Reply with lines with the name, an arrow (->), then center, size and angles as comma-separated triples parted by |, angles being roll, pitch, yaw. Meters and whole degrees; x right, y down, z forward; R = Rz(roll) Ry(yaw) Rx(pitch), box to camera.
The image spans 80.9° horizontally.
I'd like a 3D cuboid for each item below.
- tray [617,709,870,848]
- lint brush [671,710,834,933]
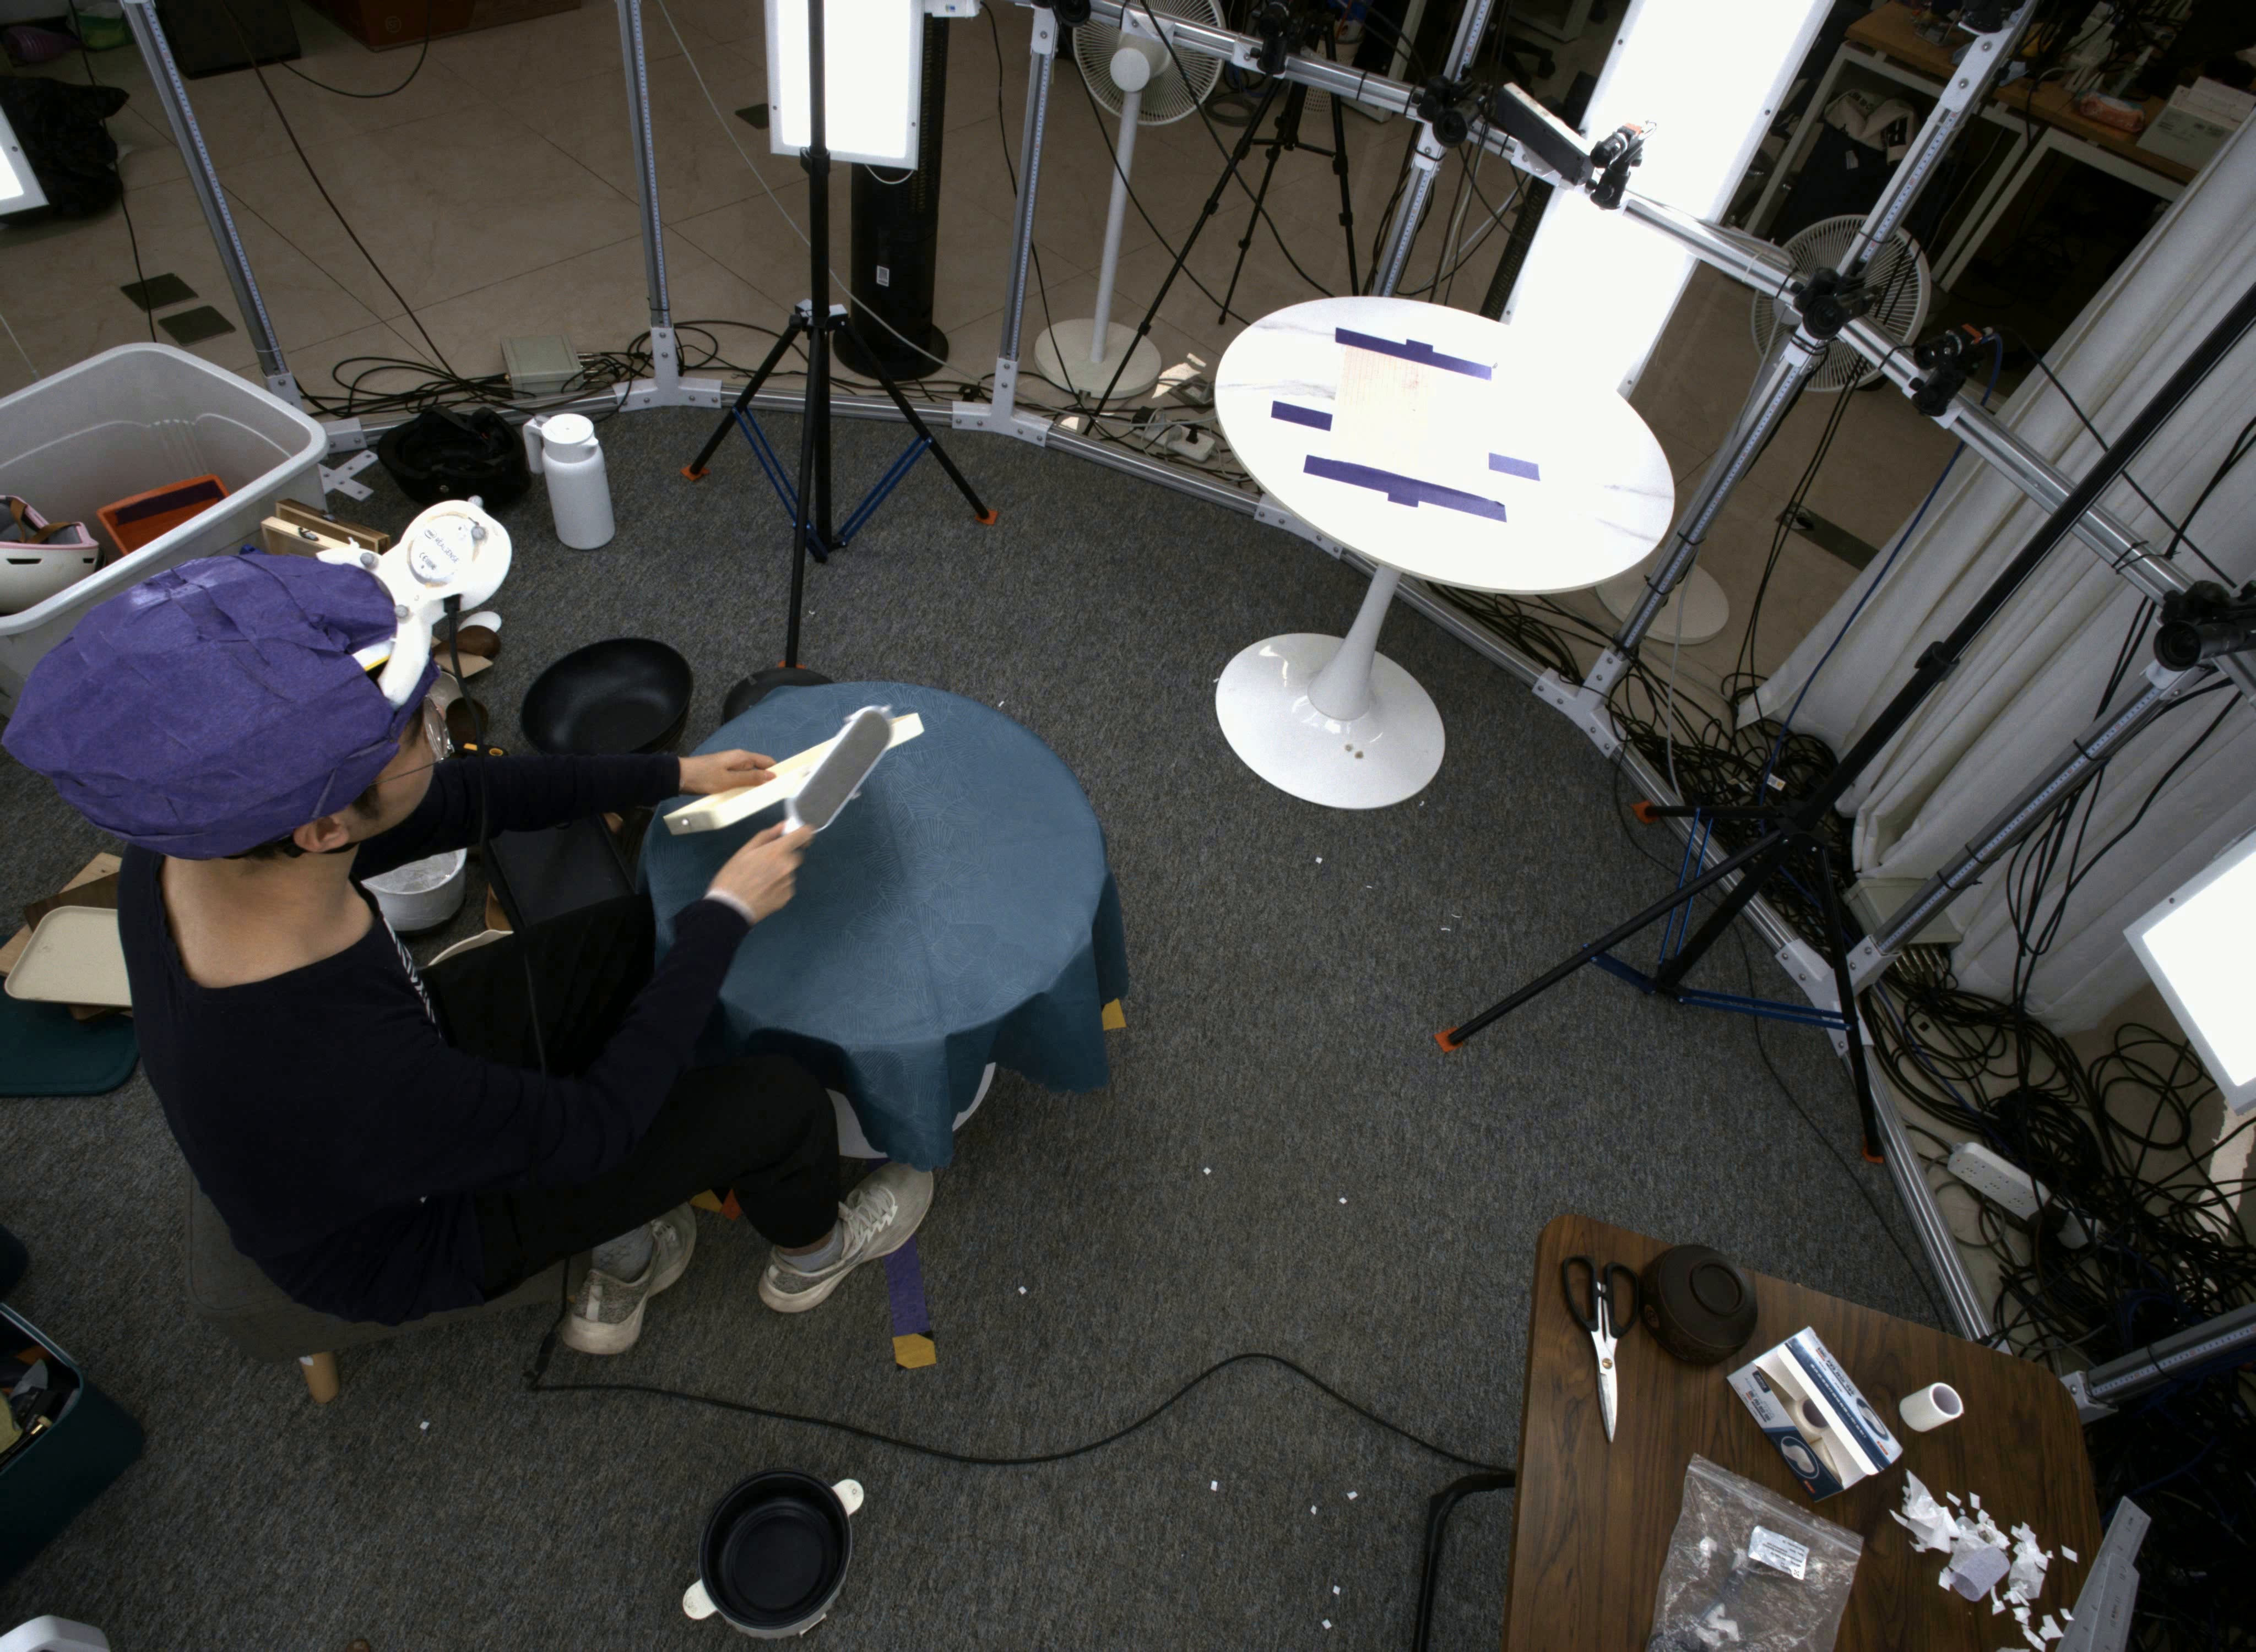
tray -> -0.475, -0.060, 1.595 | 0.301, 0.186, 0.028 | -34, 105, -34
lint brush -> -0.434, -0.010, 1.492 | 0.020, 0.062, 0.308 | 2, 55, 46
